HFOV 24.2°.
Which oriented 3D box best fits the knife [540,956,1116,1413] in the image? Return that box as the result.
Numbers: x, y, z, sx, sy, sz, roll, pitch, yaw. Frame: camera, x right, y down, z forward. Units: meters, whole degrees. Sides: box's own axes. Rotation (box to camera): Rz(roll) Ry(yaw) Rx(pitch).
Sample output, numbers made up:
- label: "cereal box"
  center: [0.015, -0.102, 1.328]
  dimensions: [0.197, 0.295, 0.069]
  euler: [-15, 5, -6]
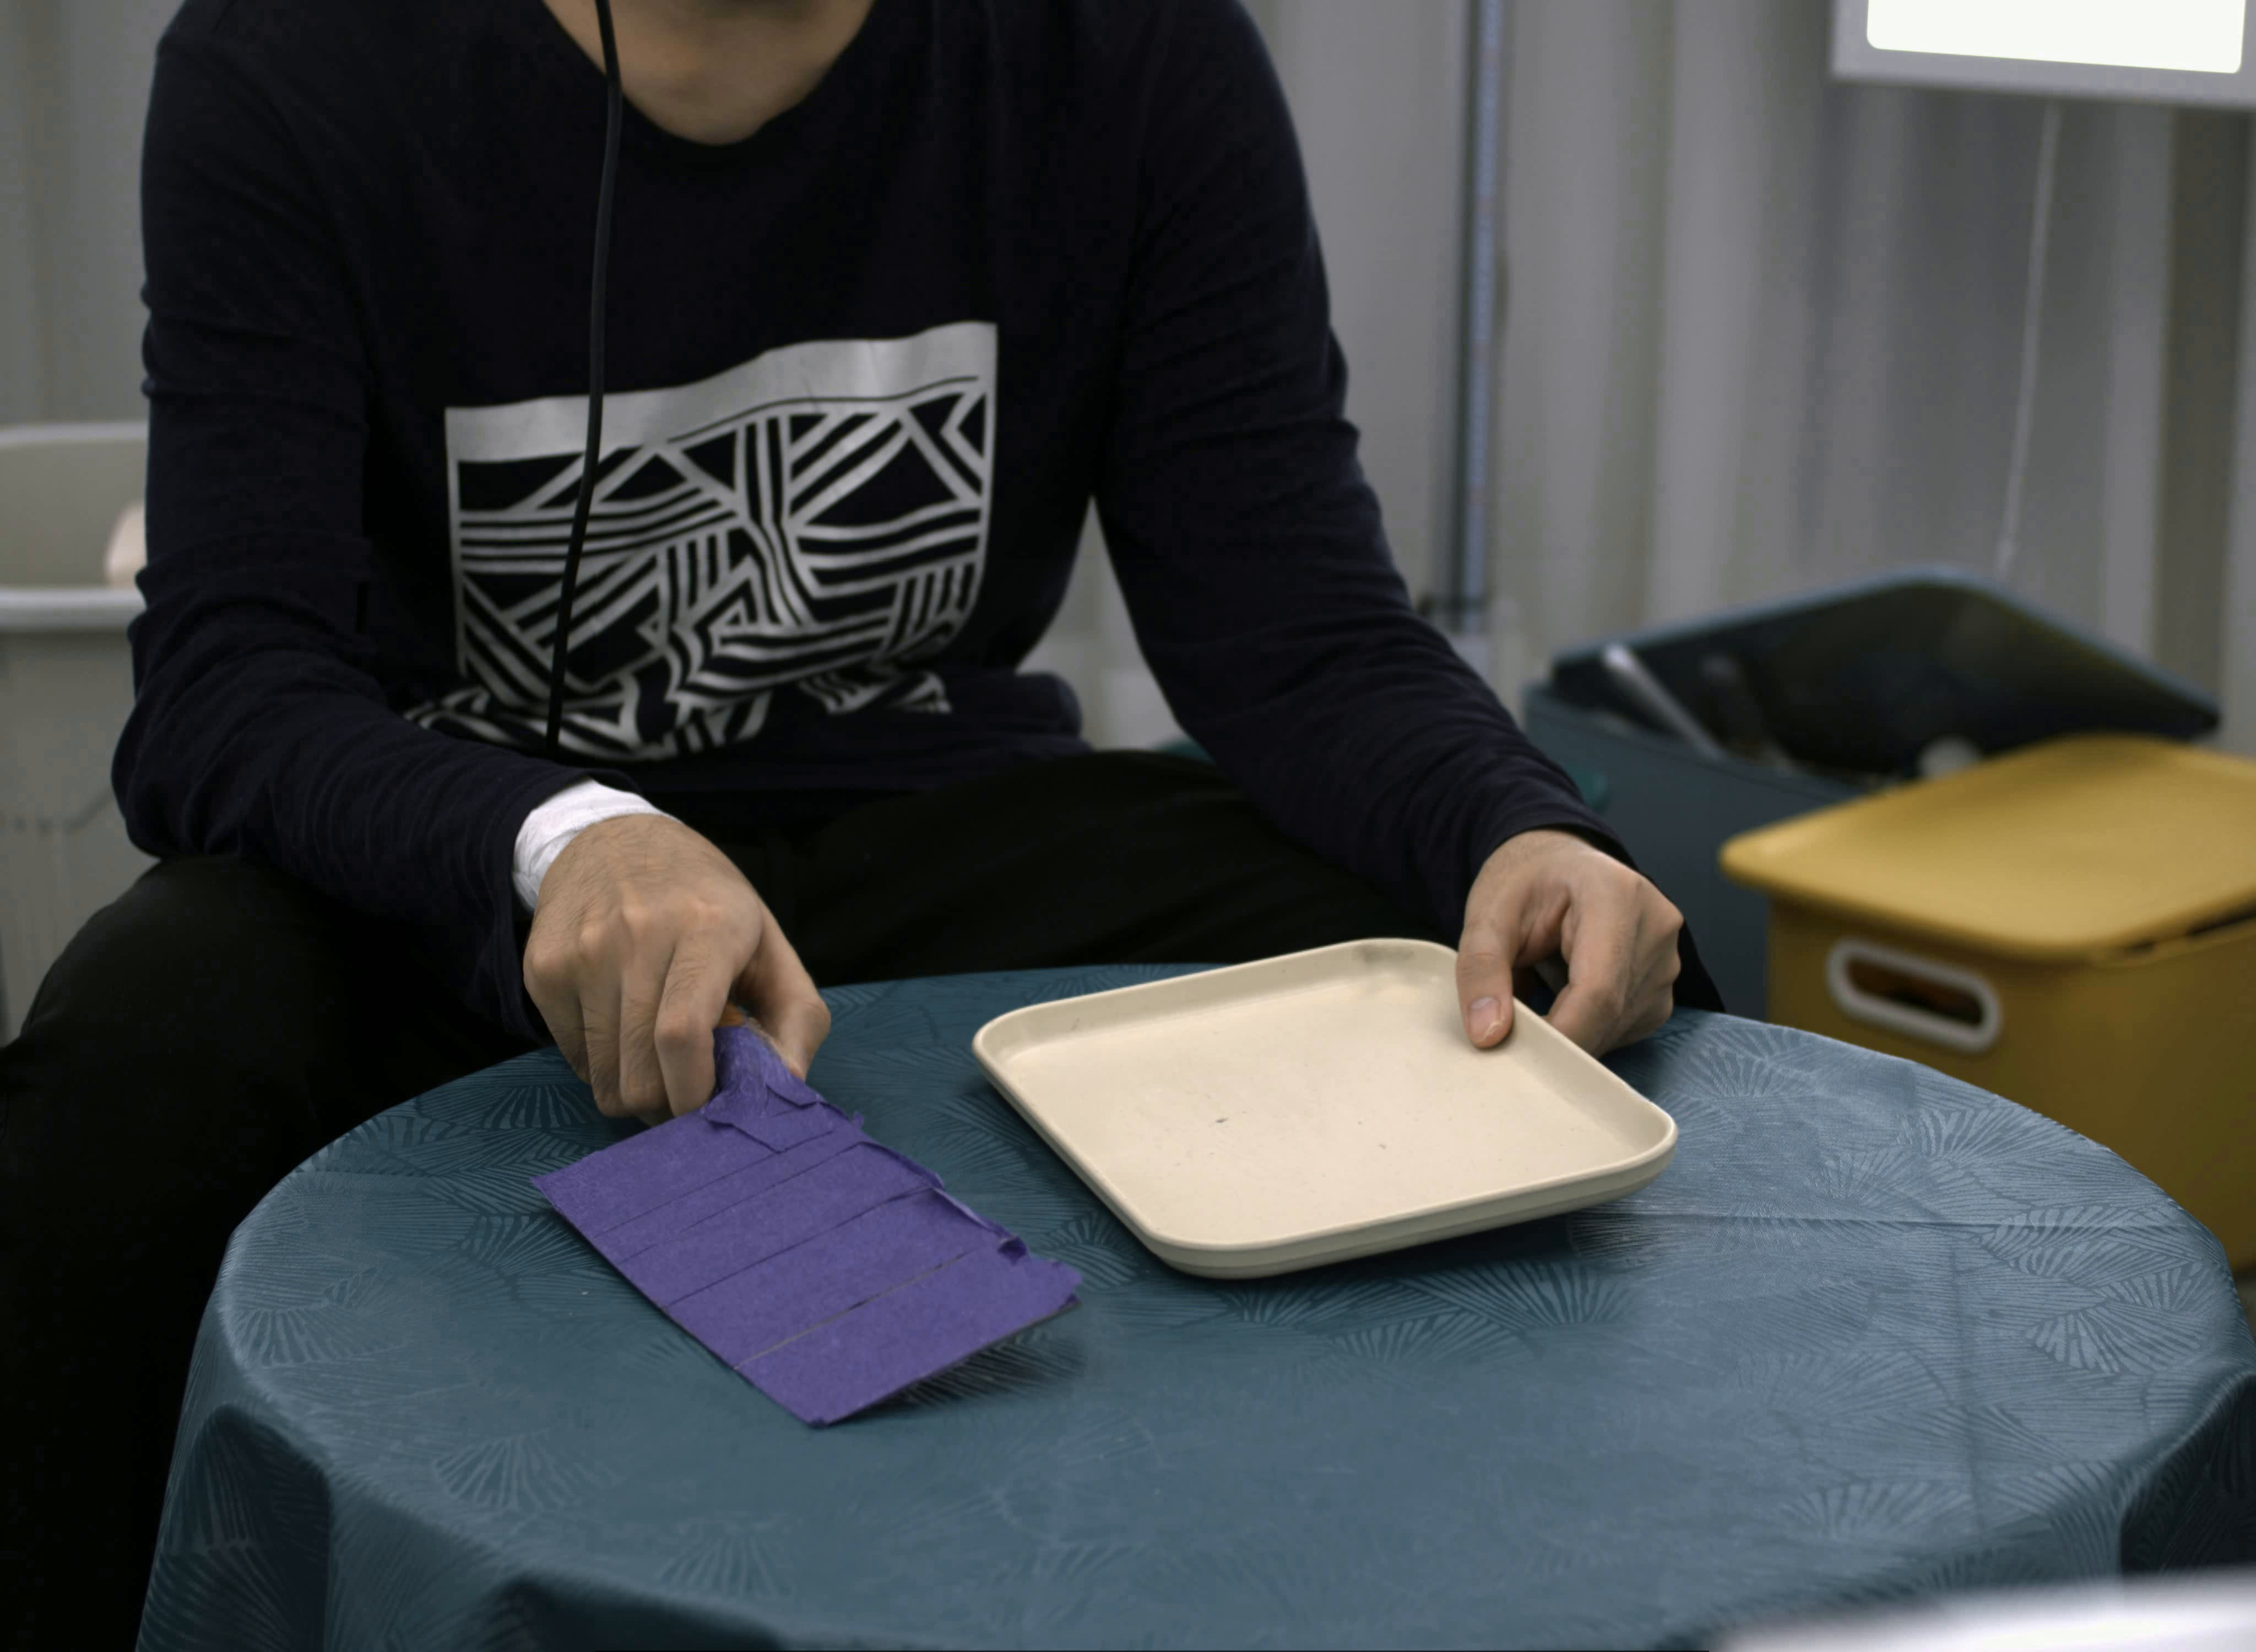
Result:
- label: "knife"
  center: [-0.119, 0.102, 1.574]
  dimensions: [0.104, 0.032, 0.311]
  euler: [-22, 23, -23]

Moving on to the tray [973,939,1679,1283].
- label: "tray"
  center: [0.058, 0.088, 1.655]
  dimensions: [0.171, 0.017, 0.237]
  euler: [-11, 18, -15]
